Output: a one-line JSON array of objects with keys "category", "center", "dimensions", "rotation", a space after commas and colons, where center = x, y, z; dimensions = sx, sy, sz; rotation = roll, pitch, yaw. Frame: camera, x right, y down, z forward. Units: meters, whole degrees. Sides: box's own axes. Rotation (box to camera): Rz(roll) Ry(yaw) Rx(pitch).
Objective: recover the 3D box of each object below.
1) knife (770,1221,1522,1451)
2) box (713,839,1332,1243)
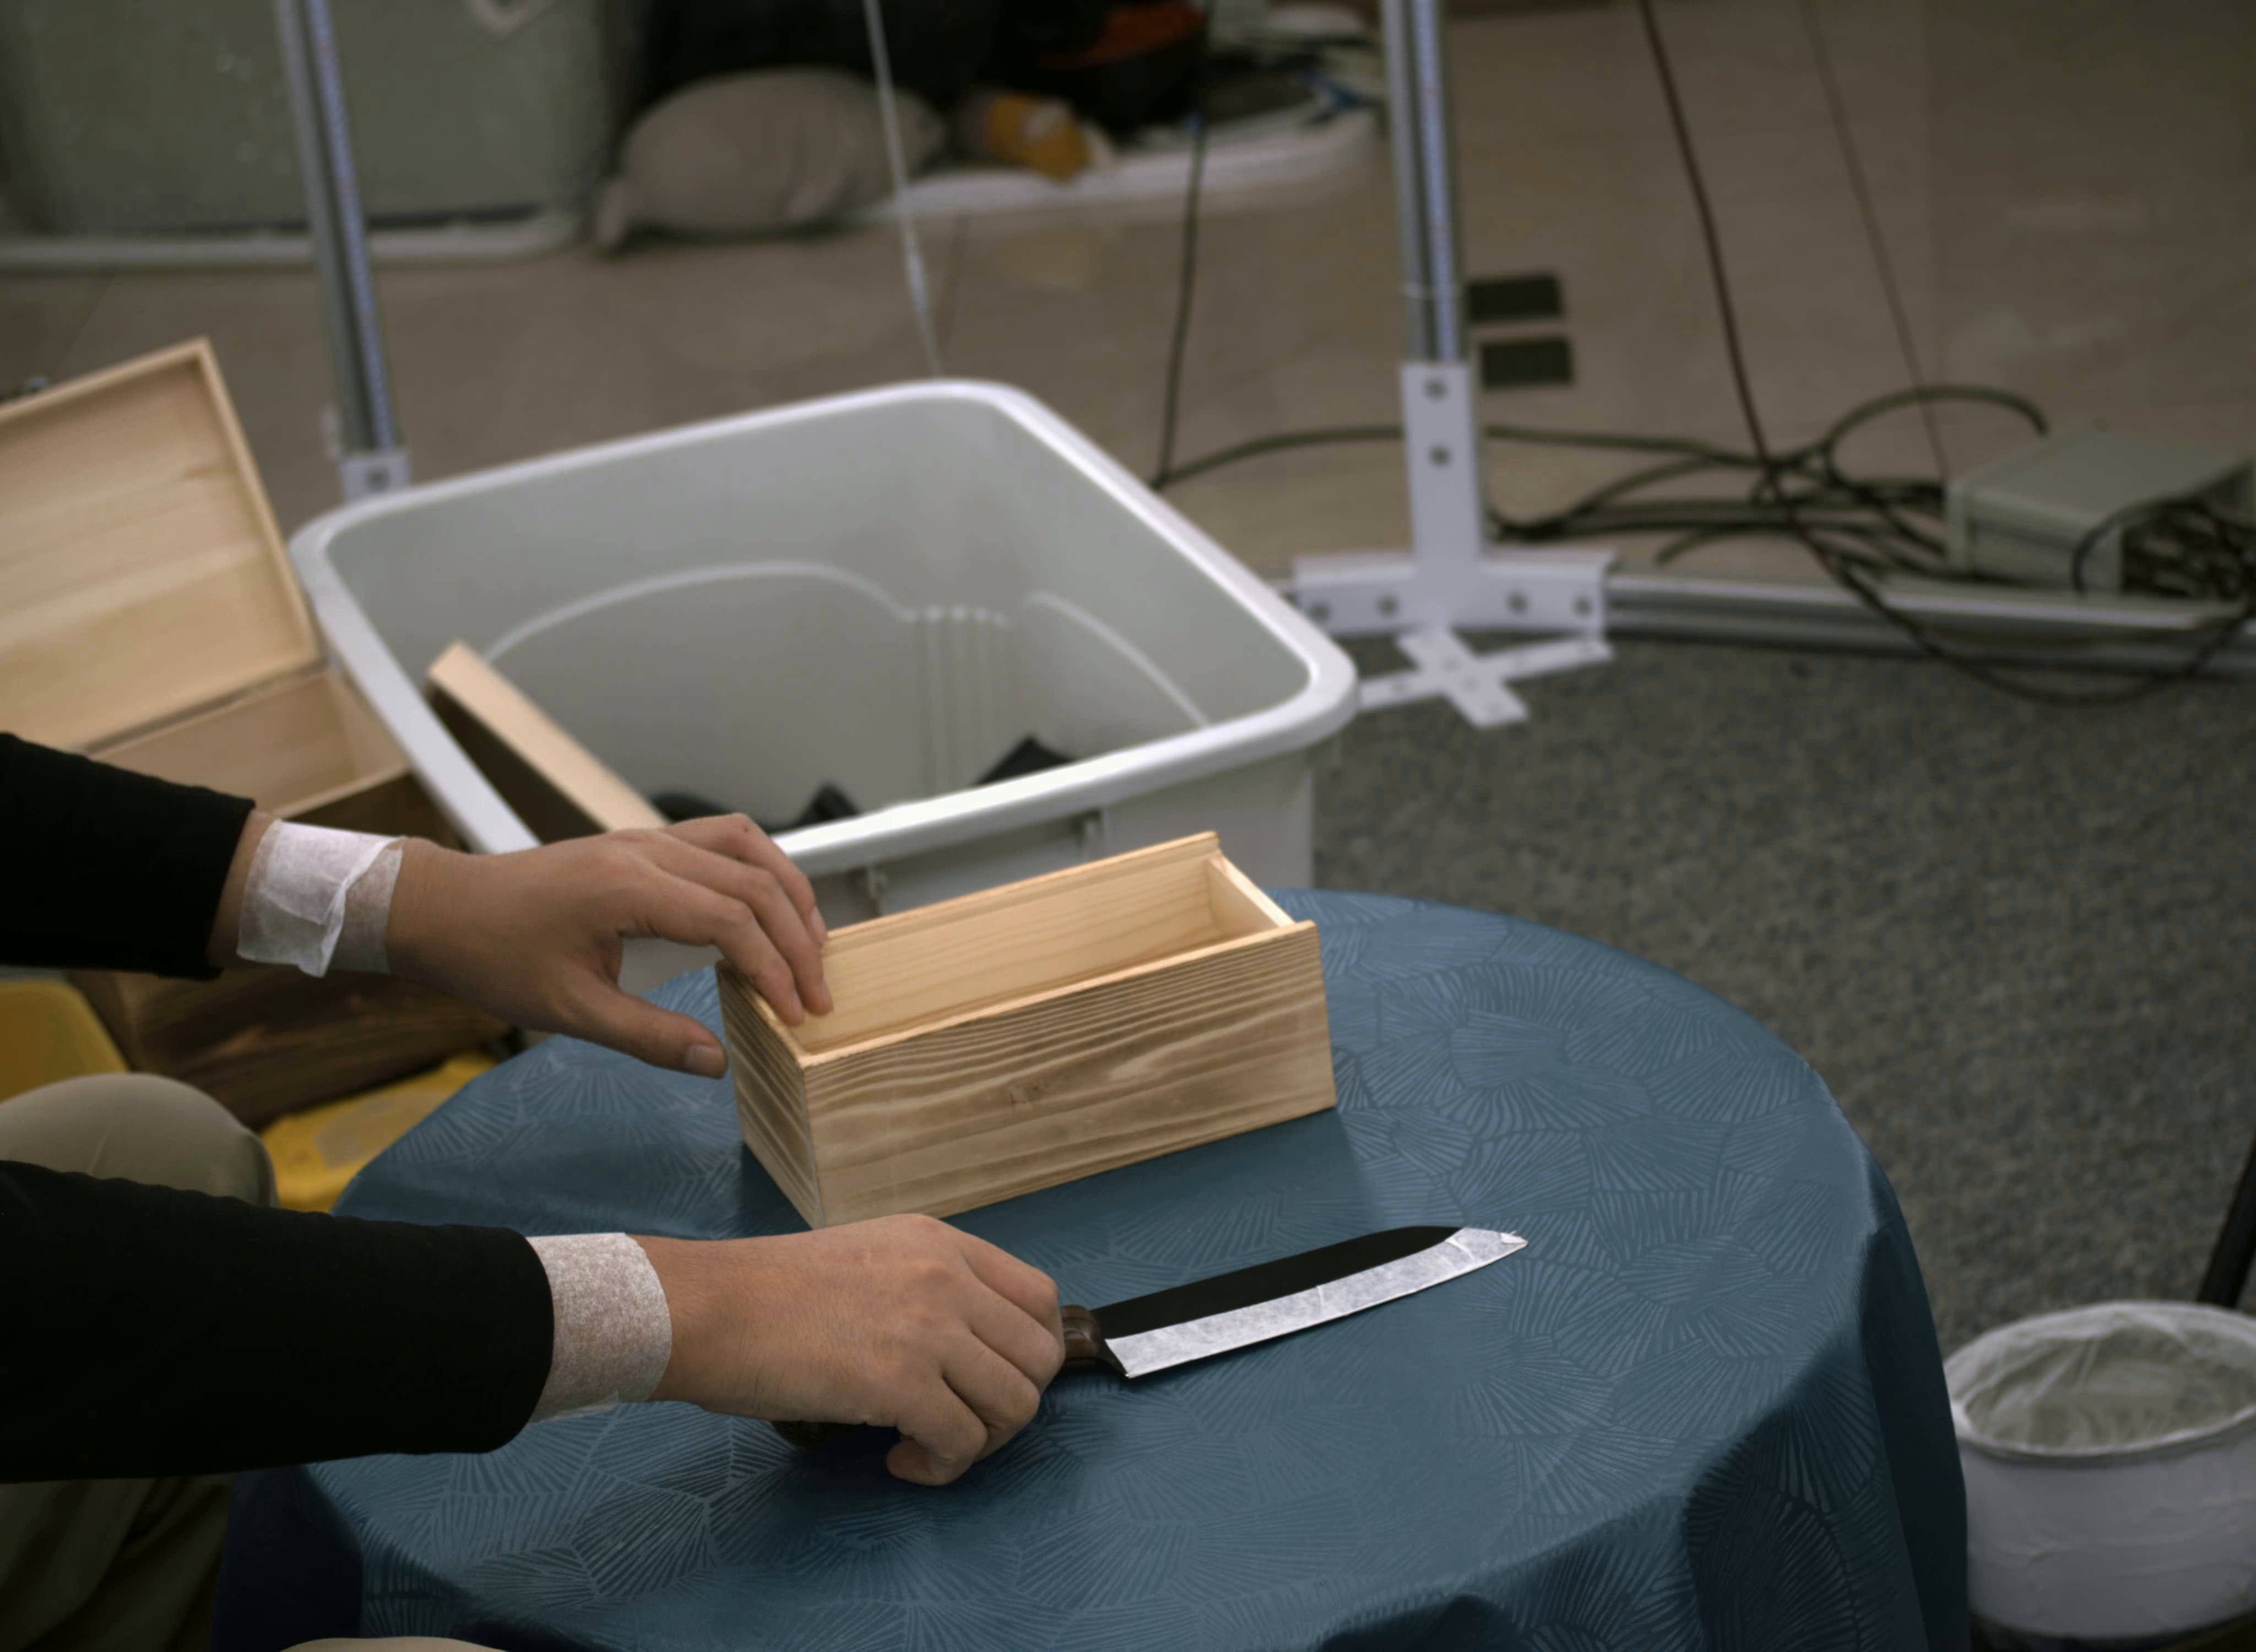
[{"category": "knife", "center": [0.010, 0.180, 2.040], "dimensions": [0.288, 0.020, 0.049], "rotation": [-12, 33, -18]}, {"category": "box", "center": [-0.041, 0.081, 2.188], "dimensions": [0.210, 0.081, 0.106], "rotation": [-14, 26, -17]}]
